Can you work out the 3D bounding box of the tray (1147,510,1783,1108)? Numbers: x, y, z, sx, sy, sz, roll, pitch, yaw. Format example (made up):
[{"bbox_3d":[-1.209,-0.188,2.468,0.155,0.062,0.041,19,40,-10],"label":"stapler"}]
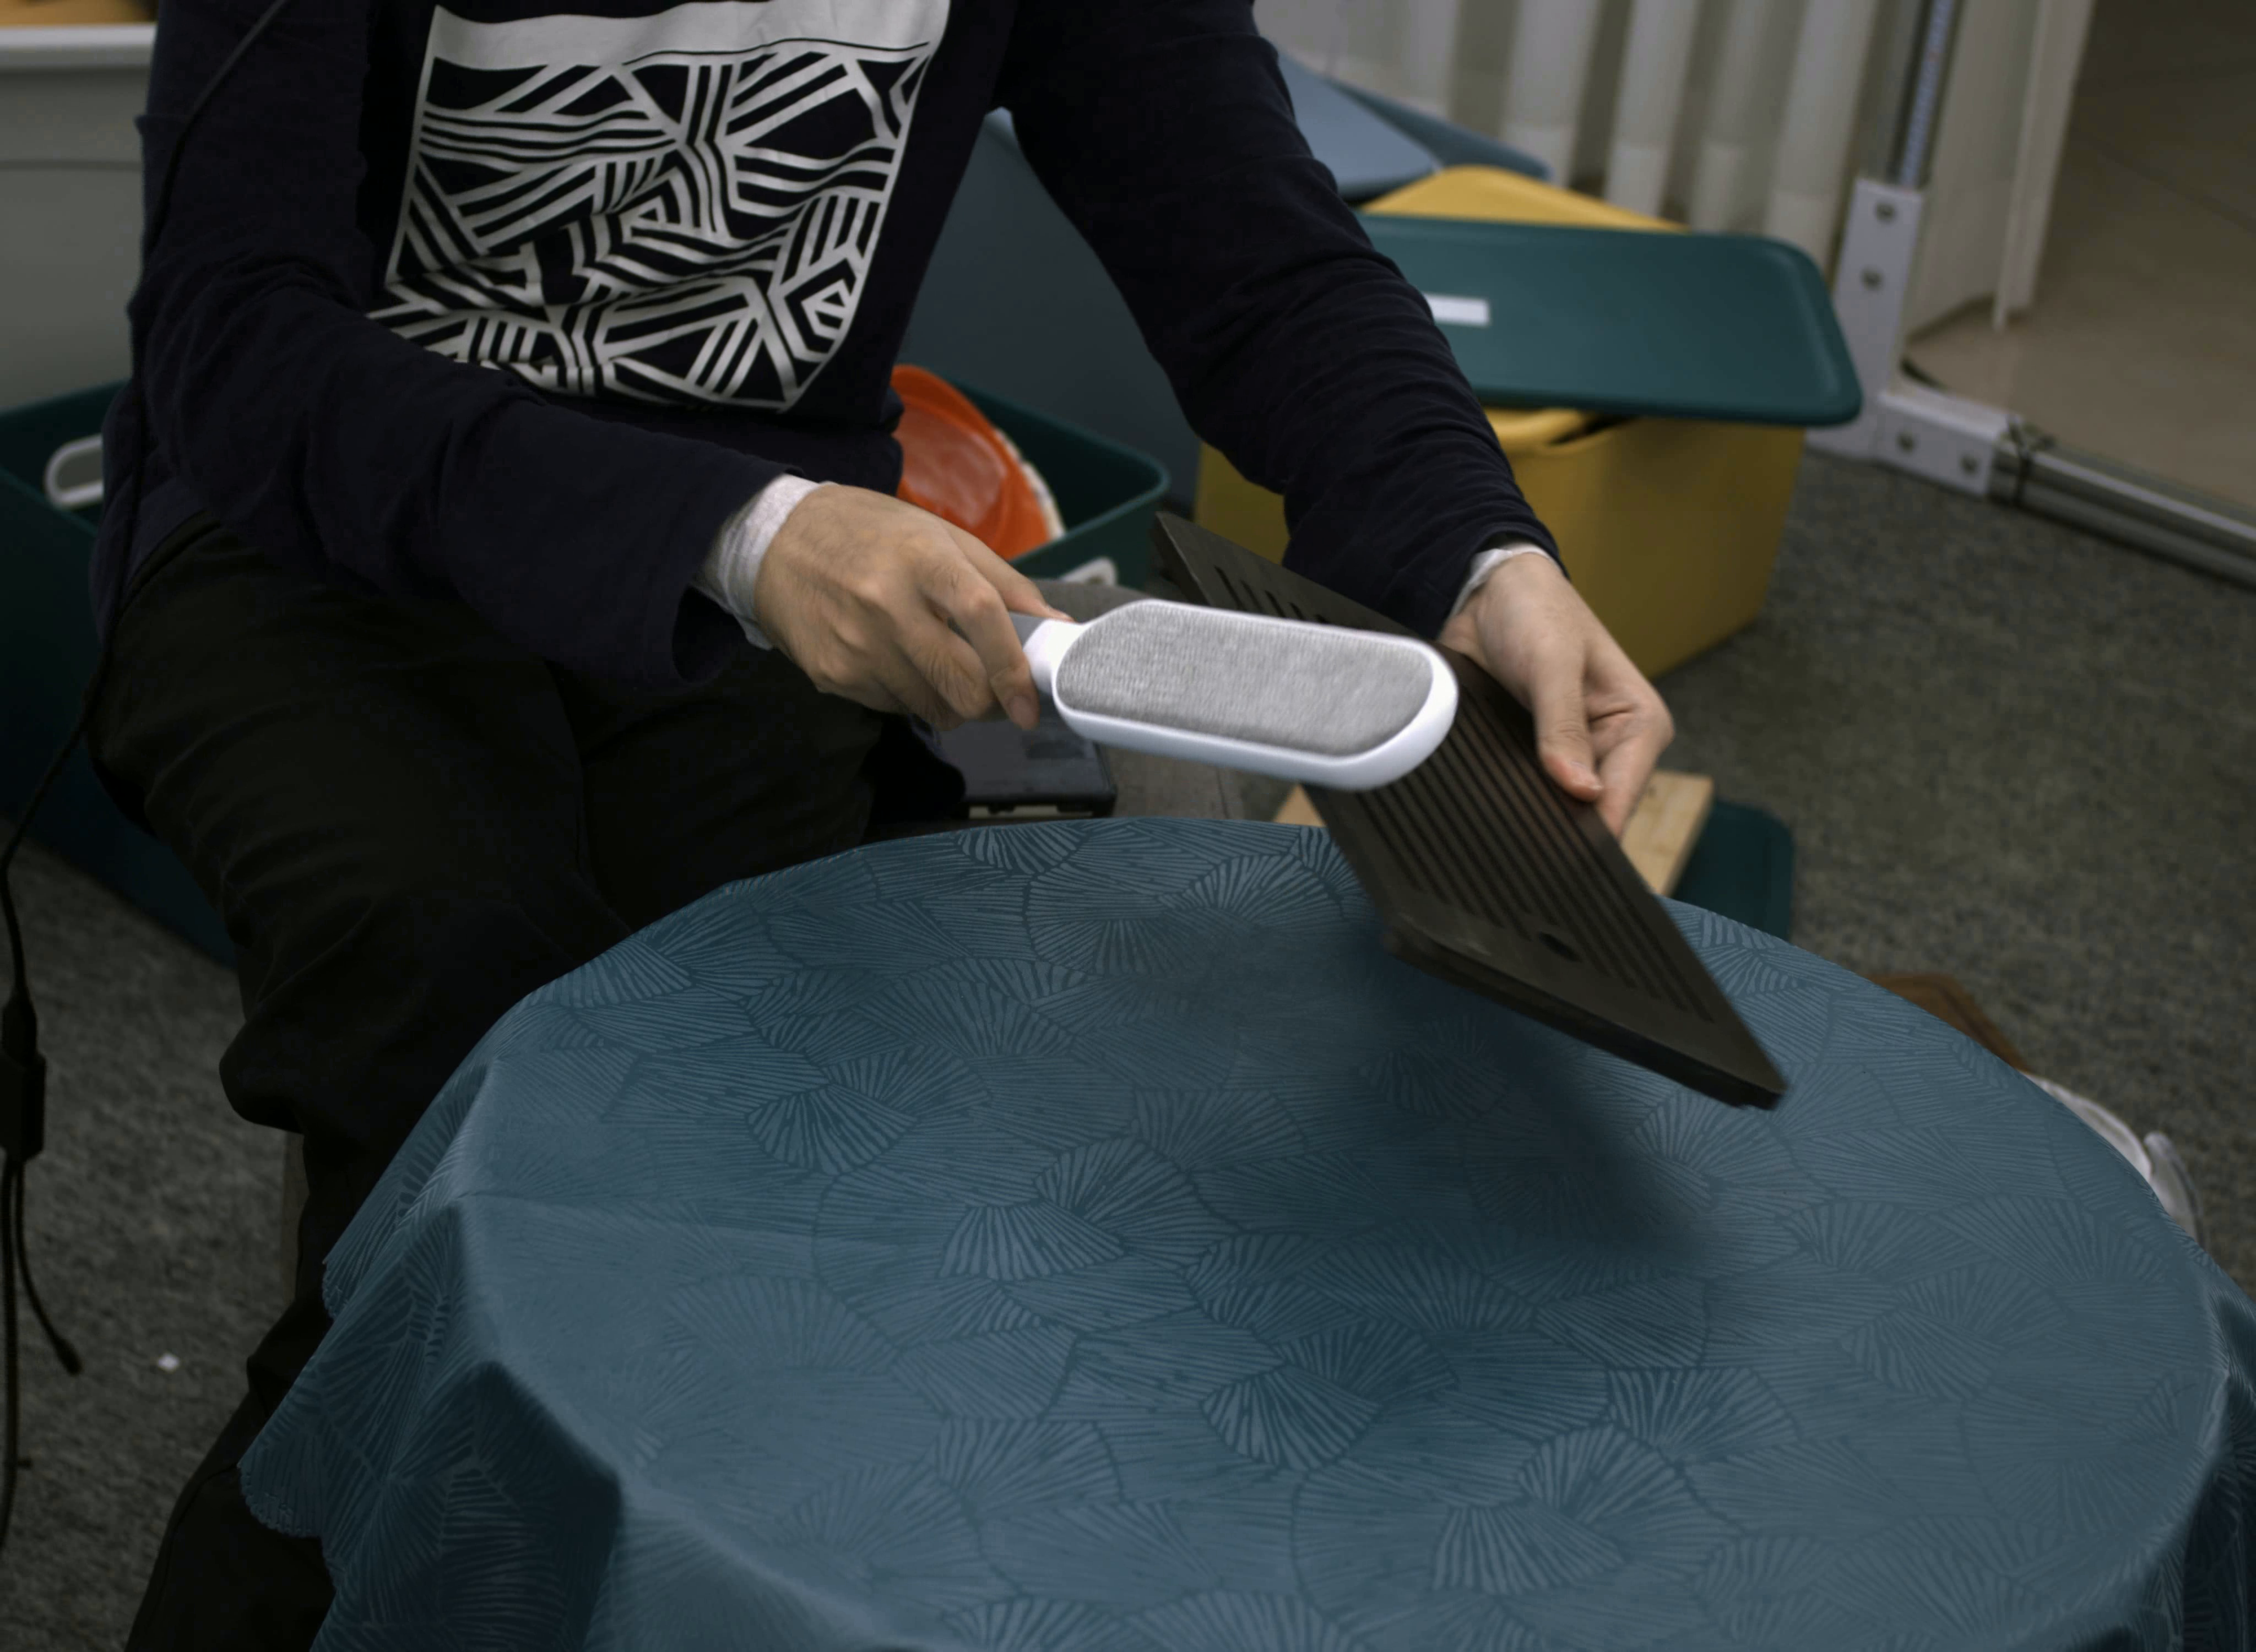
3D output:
[{"bbox_3d":[0.111,-0.007,1.872,0.168,0.018,0.308,24,20,-28],"label":"tray"}]

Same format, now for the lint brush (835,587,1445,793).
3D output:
[{"bbox_3d":[-0.002,-0.056,1.863,0.311,0.021,0.060,12,64,48],"label":"lint brush"}]
